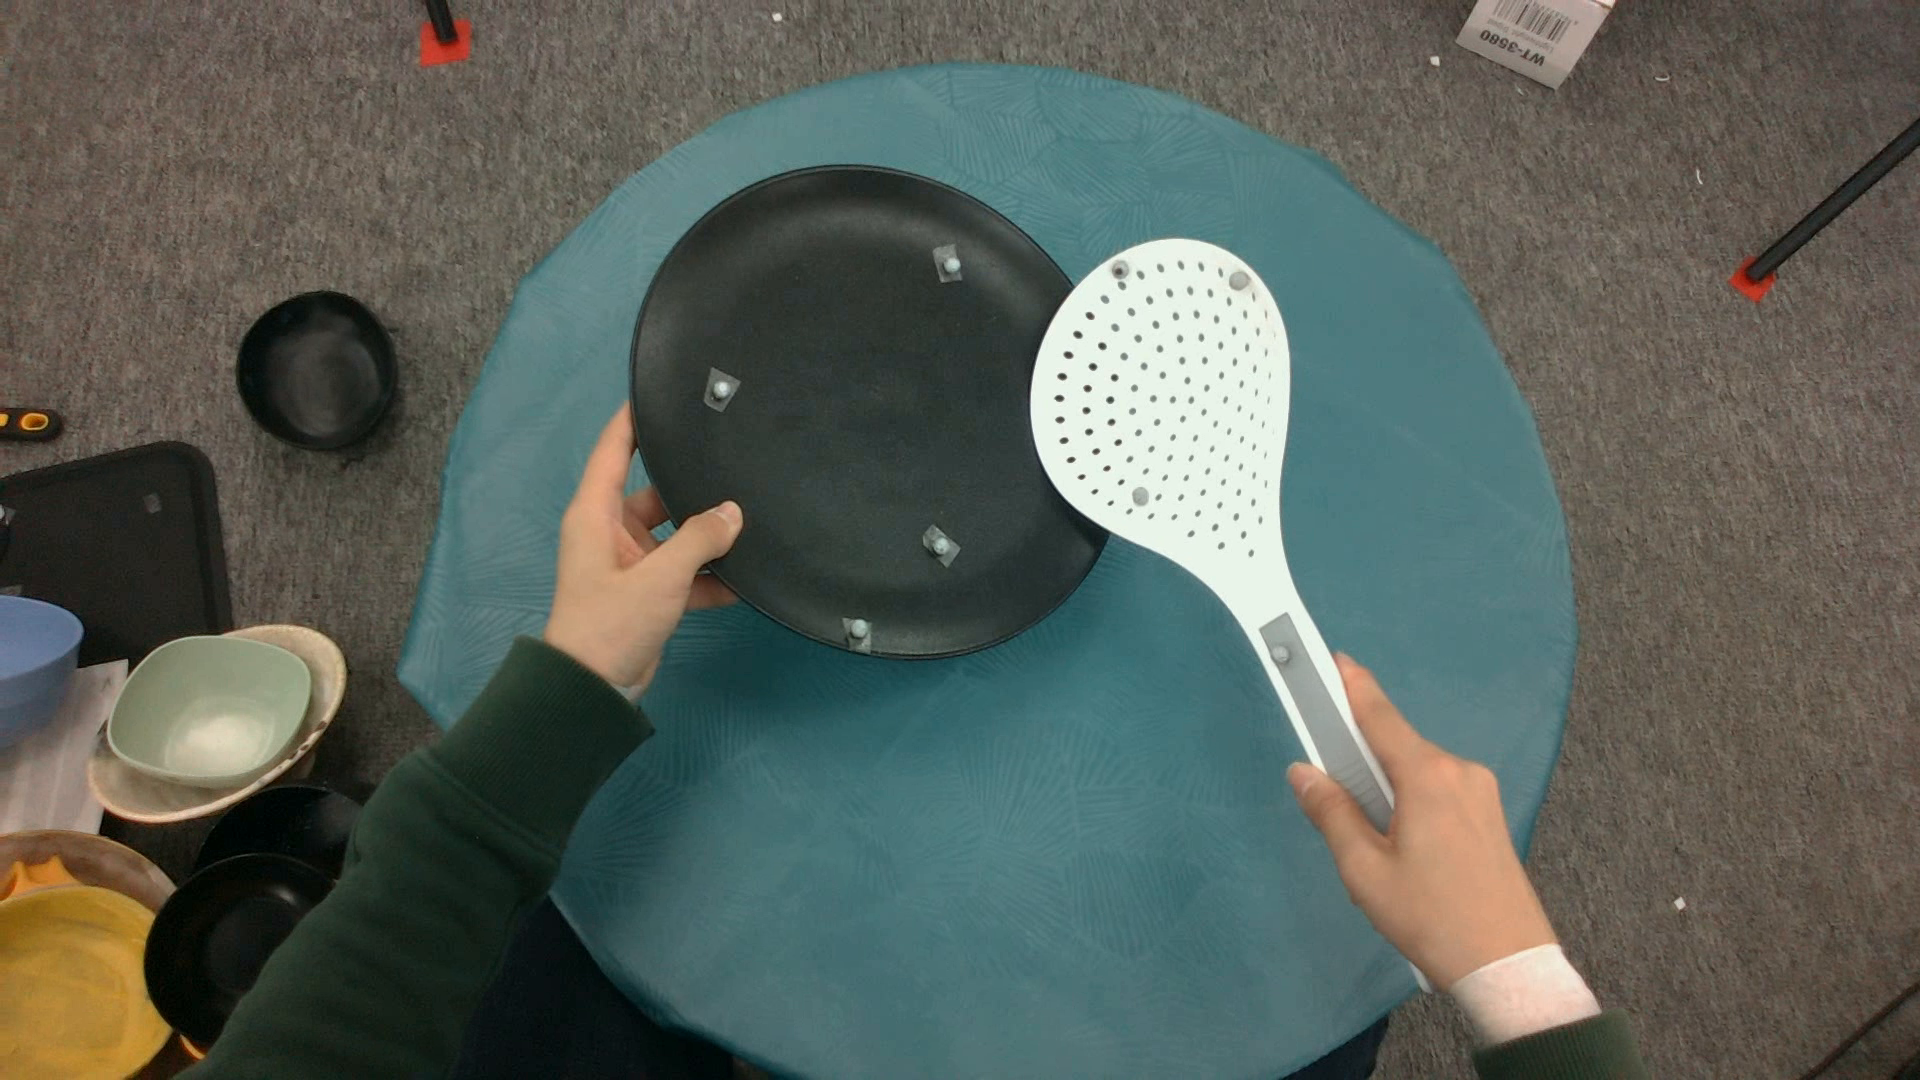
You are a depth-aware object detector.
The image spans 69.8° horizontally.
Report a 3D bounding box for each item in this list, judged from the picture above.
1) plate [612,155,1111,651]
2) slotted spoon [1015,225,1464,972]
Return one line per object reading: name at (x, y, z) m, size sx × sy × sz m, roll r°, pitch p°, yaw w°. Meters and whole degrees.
plate at (-0.041, -0.066, 0.646) m, size 0.245 × 0.023 × 0.245 m, roll 7°, pitch 72°, yaw -22°
slotted spoon at (0.124, 0.015, 0.602) m, size 0.046 × 0.135 × 0.350 m, roll 12°, pitch 49°, yaw -48°
